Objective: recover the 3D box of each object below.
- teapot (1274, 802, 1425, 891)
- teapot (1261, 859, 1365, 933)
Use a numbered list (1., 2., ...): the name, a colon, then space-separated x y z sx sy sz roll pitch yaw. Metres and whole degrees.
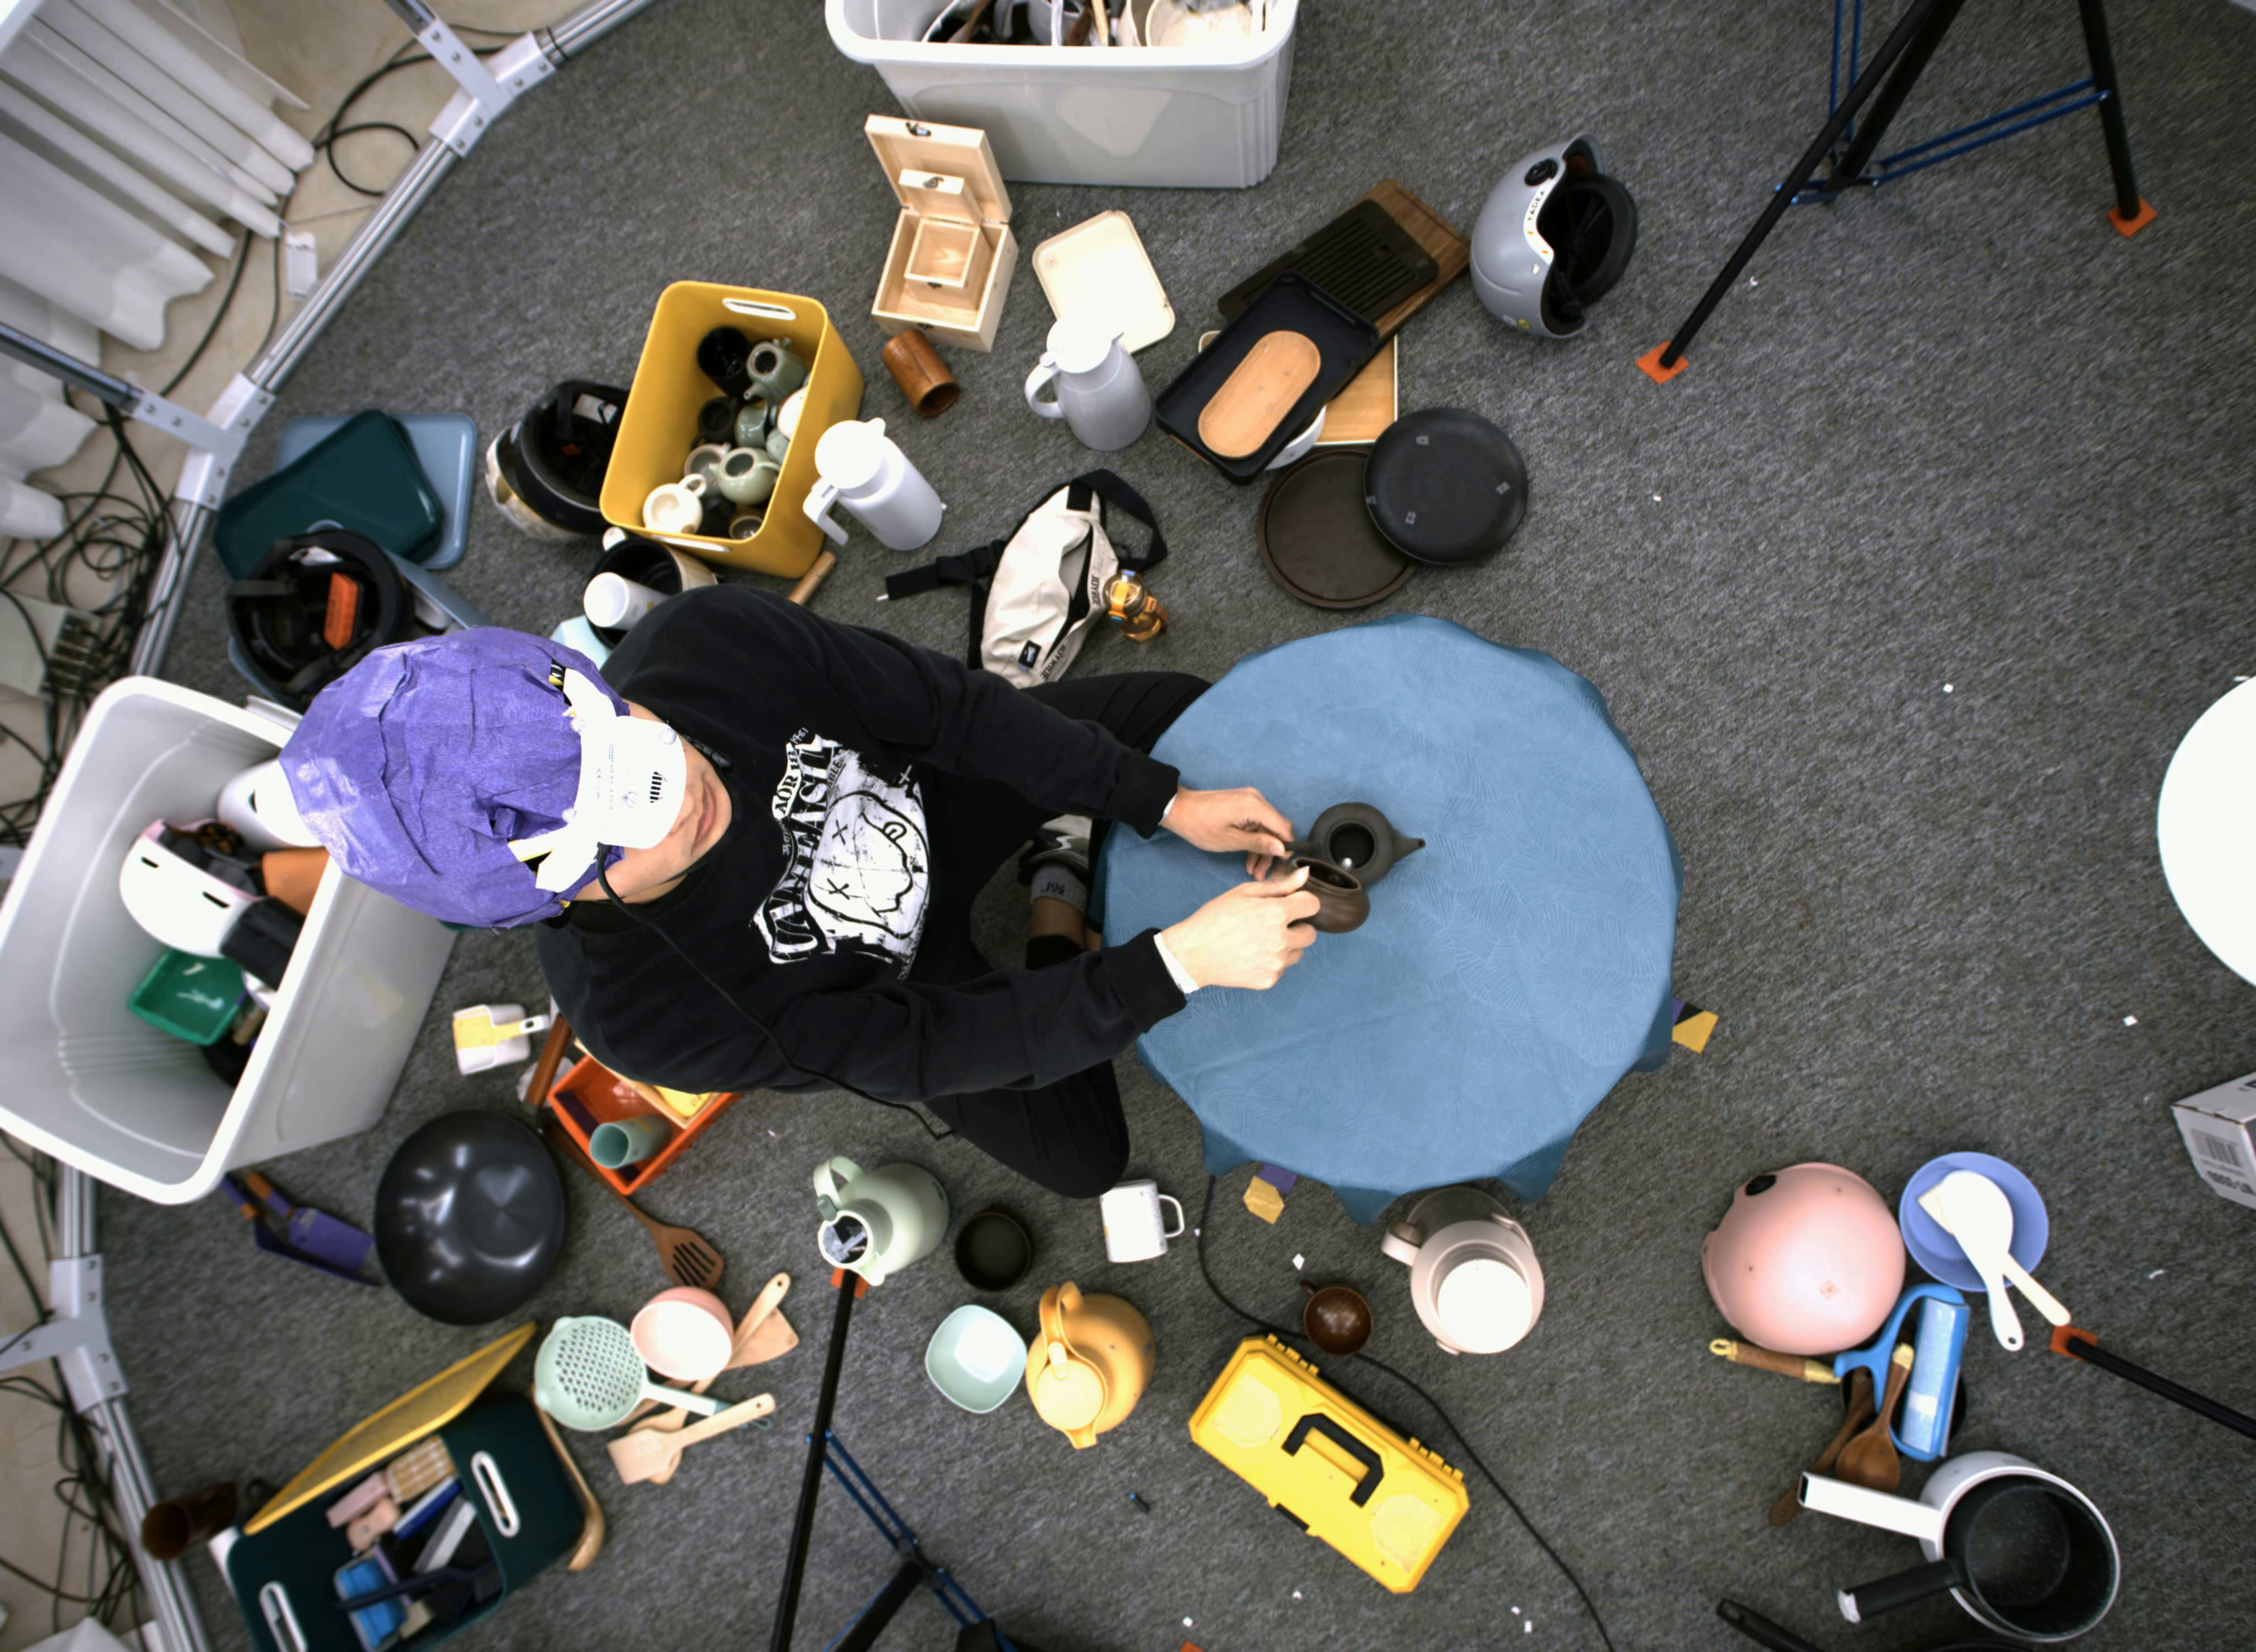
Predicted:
1. teapot: 0.229 0.020 1.430 0.155 0.064 0.092 0 86 11
2. teapot: 0.175 0.065 1.311 0.102 0.152 0.054 22 99 12
